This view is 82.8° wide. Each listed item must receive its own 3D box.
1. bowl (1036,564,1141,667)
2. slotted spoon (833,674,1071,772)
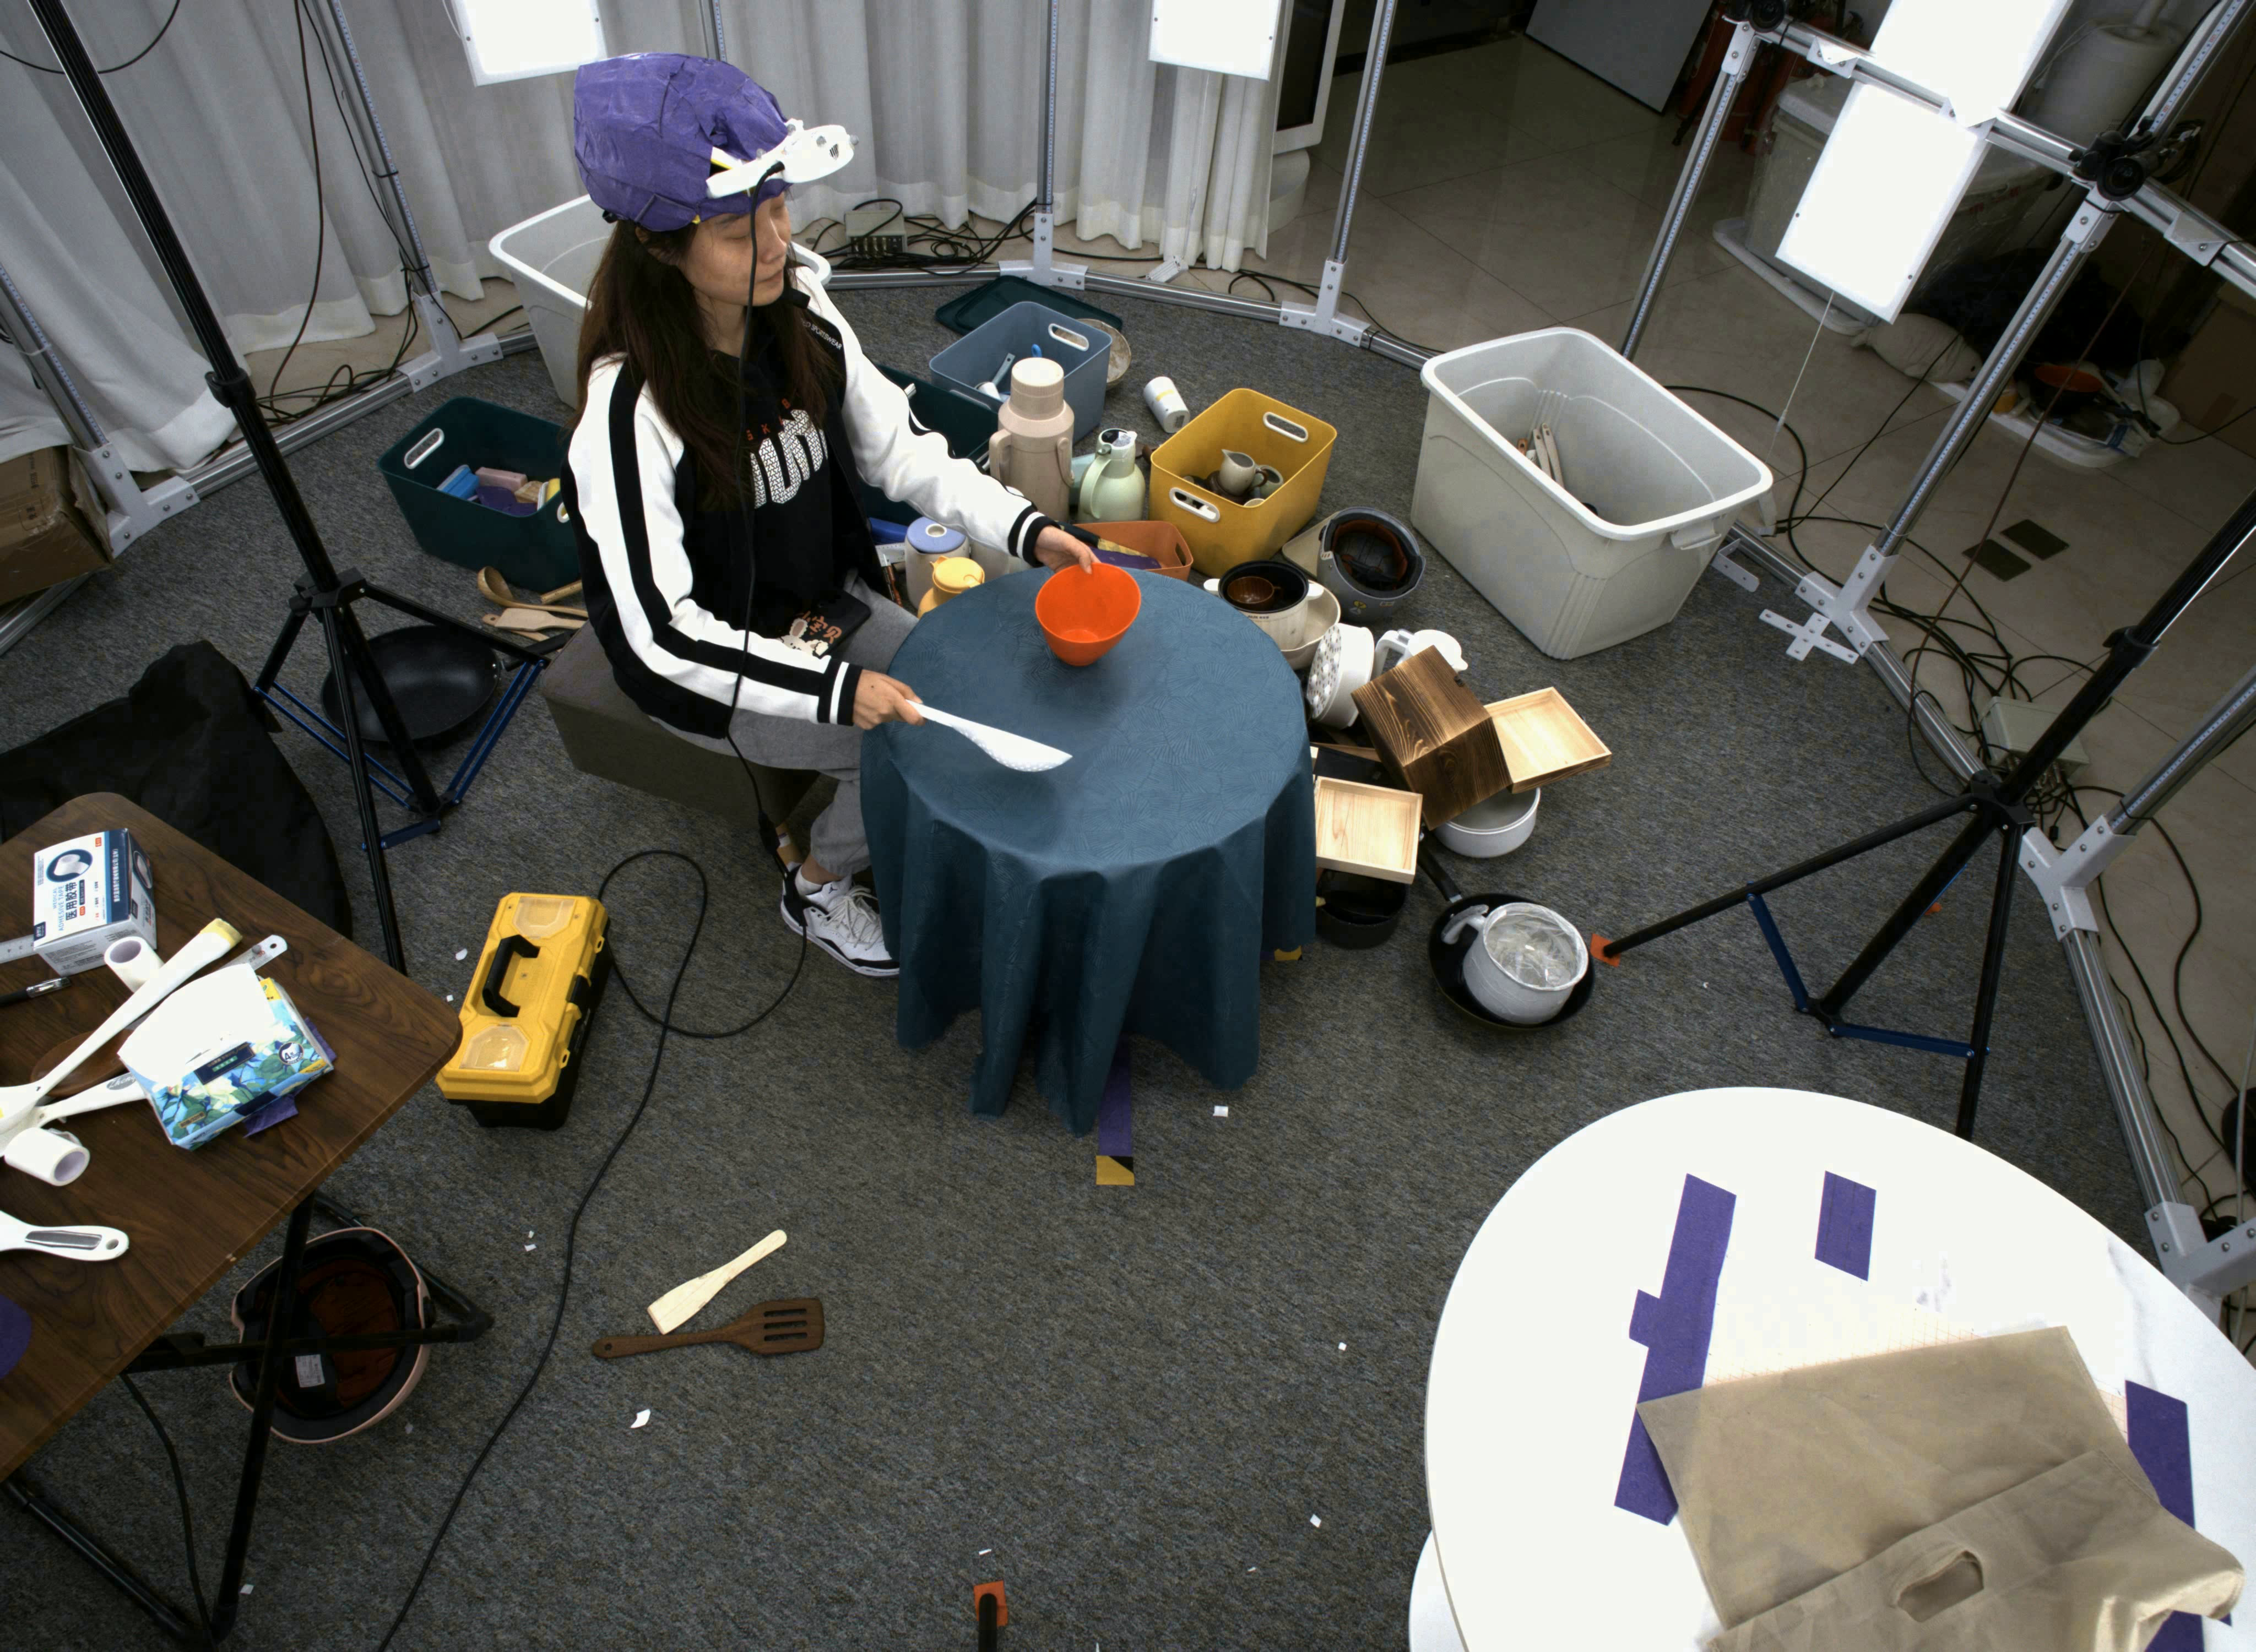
[{"bbox_3d":[-0.058,-0.290,1.838,0.148,0.102,0.151,2,54,-3],"label":"bowl"},{"bbox_3d":[-0.236,-0.140,1.680,0.353,0.135,0.045,25,95,19],"label":"slotted spoon"}]
